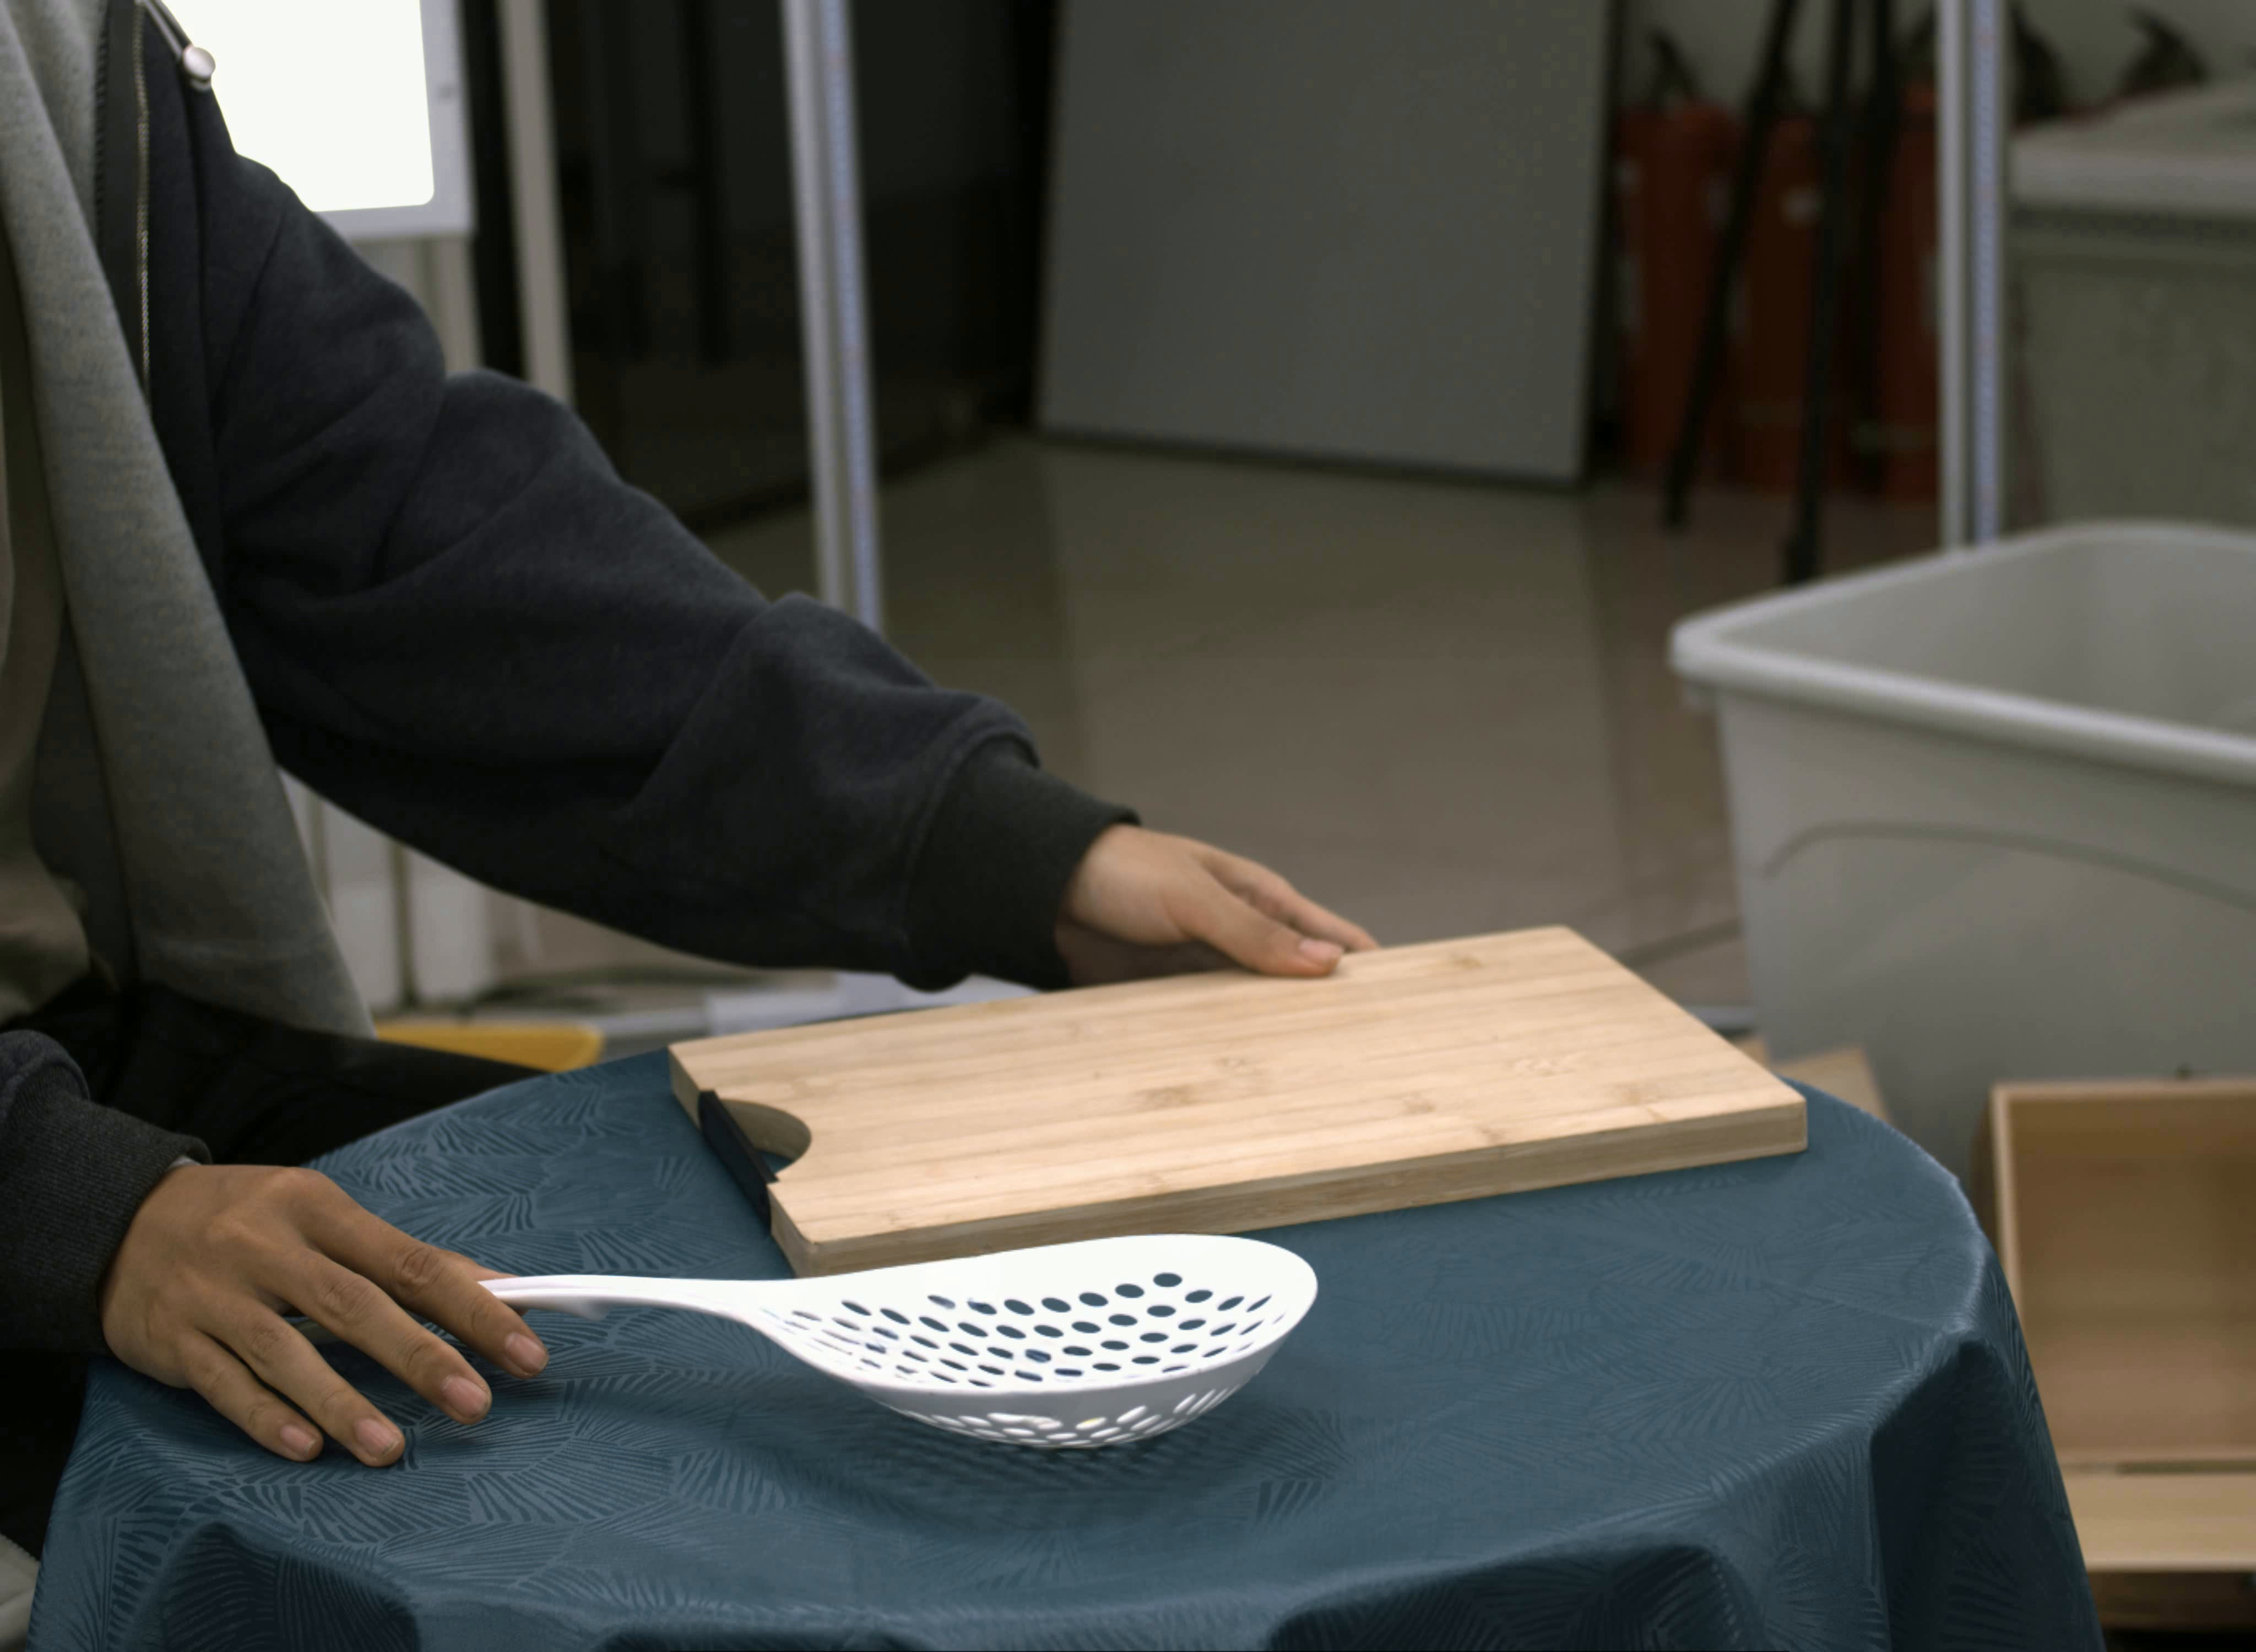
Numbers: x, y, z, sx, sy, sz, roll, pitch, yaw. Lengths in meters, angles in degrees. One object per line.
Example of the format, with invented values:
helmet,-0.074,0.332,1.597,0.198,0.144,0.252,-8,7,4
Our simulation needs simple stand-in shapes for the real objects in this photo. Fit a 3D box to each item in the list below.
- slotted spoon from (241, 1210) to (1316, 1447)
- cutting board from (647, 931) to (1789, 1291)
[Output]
slotted spoon,-0.110,0.150,1.594,0.348,0.051,0.135,2,17,24
cutting board,0.026,0.095,1.835,0.342,0.024,0.252,-8,14,-14
